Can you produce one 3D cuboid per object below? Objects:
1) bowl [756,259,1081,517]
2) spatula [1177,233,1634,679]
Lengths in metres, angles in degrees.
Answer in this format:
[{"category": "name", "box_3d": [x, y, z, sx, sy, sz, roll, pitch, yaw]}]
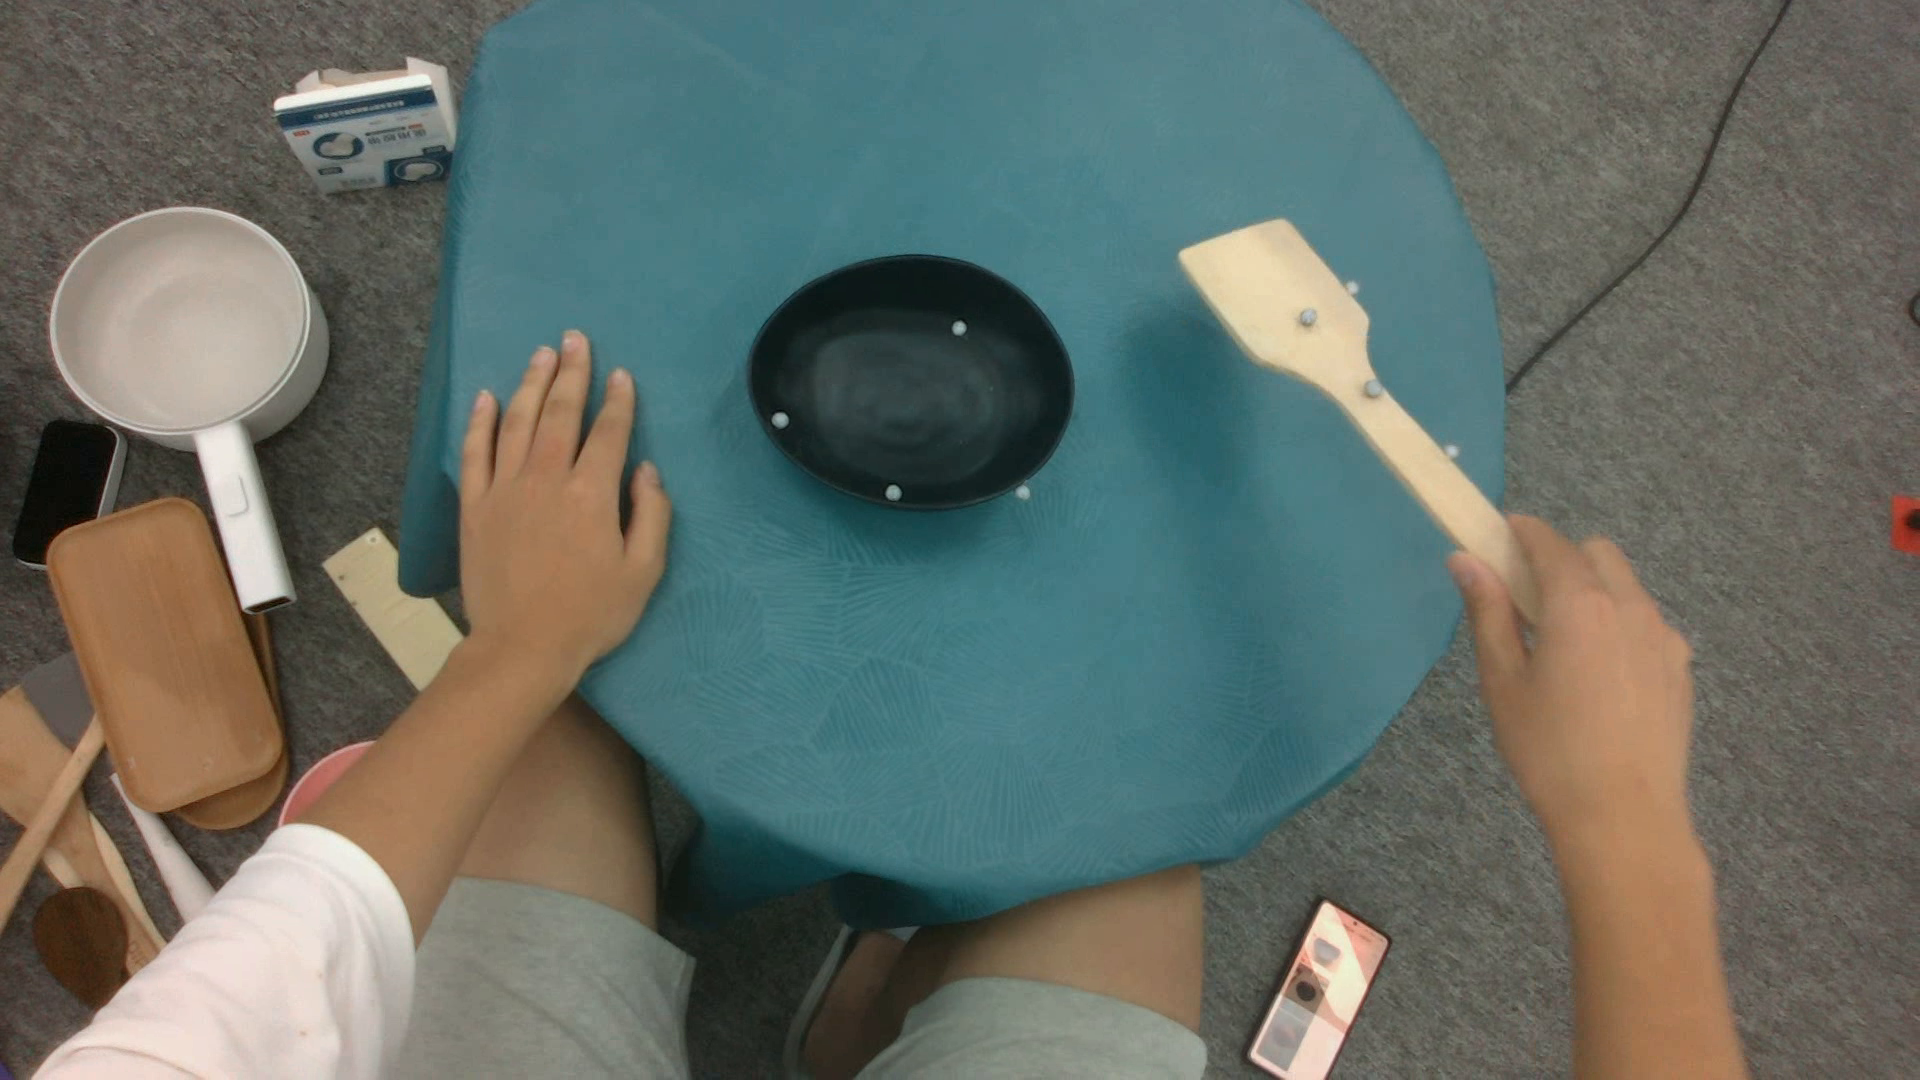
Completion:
[{"category": "bowl", "box_3d": [-0.023, -0.074, 0.739, 0.170, 0.066, 0.137, 1, 78, -7]}, {"category": "spatula", "box_3d": [0.211, -0.048, 0.660, 0.072, 0.010, 0.293, -25, 57, -12]}]
